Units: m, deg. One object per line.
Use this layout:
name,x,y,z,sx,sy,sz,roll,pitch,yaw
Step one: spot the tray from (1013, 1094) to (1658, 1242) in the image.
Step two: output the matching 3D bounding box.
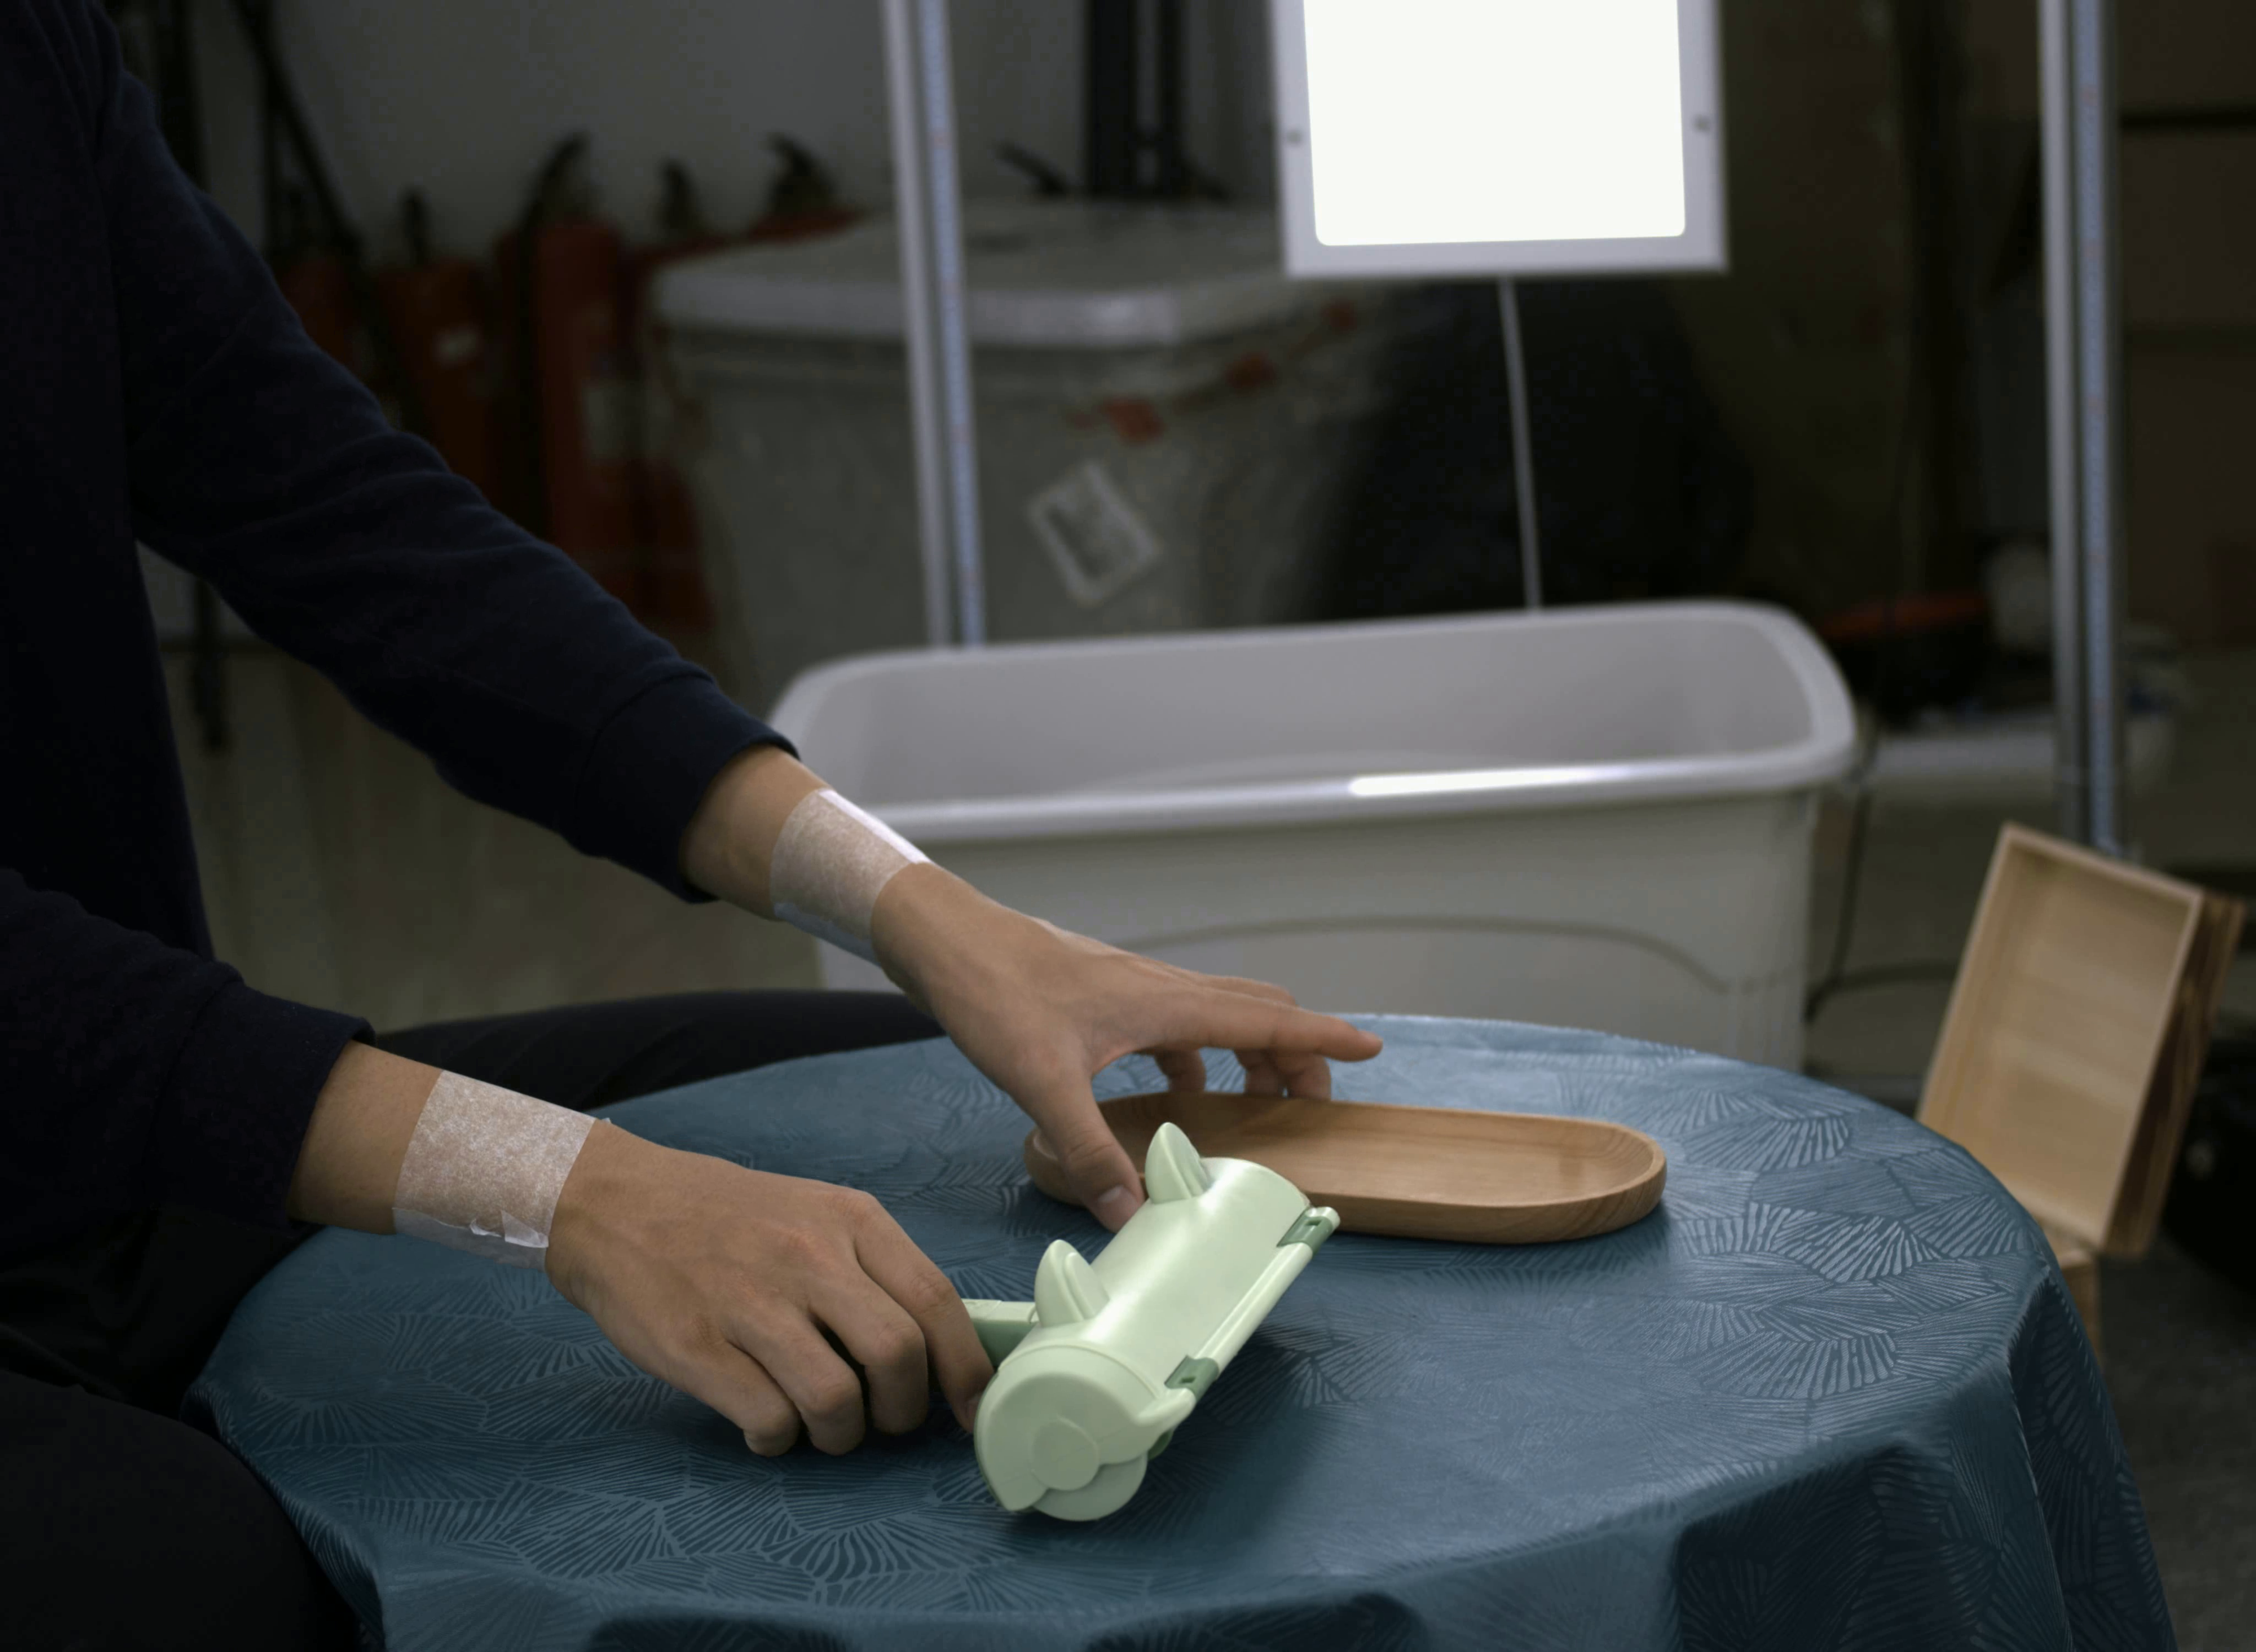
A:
tray,0.070,0.117,1.878,0.235,0.020,0.099,1,14,27

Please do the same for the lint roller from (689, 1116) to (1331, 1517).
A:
lint roller,-0.047,0.139,1.678,0.185,0.082,0.195,5,15,16
